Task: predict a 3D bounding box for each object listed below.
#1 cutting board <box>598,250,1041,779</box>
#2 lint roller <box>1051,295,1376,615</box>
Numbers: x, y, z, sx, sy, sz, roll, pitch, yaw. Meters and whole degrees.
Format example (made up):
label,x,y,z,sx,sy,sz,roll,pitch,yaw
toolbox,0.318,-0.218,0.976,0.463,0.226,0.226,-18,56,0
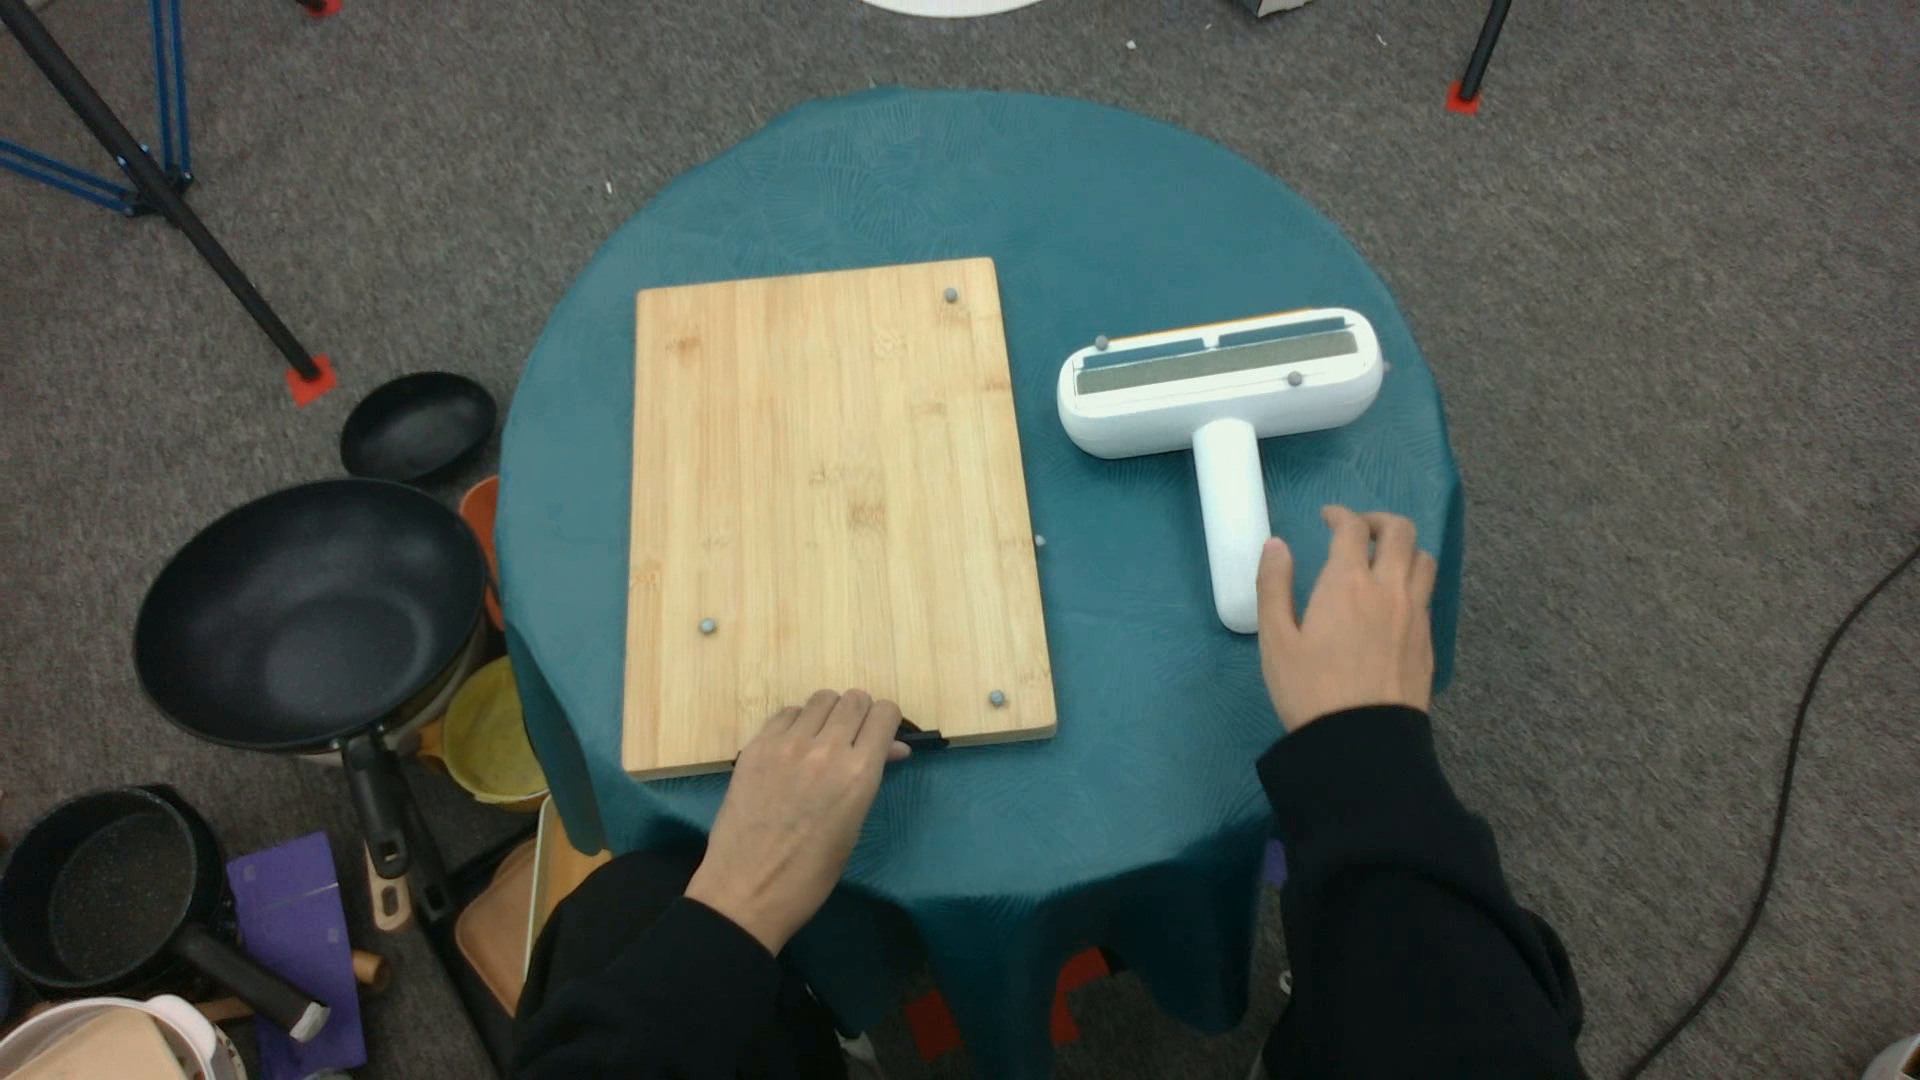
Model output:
label,x,y,z,sx,sy,sz,roll,pitch,yaw
cutting board,-0.092,-0.033,0.839,0.251,0.023,0.350,-7,60,-2
lint roller,0.152,-0.052,0.817,0.193,0.074,0.193,-3,63,6
